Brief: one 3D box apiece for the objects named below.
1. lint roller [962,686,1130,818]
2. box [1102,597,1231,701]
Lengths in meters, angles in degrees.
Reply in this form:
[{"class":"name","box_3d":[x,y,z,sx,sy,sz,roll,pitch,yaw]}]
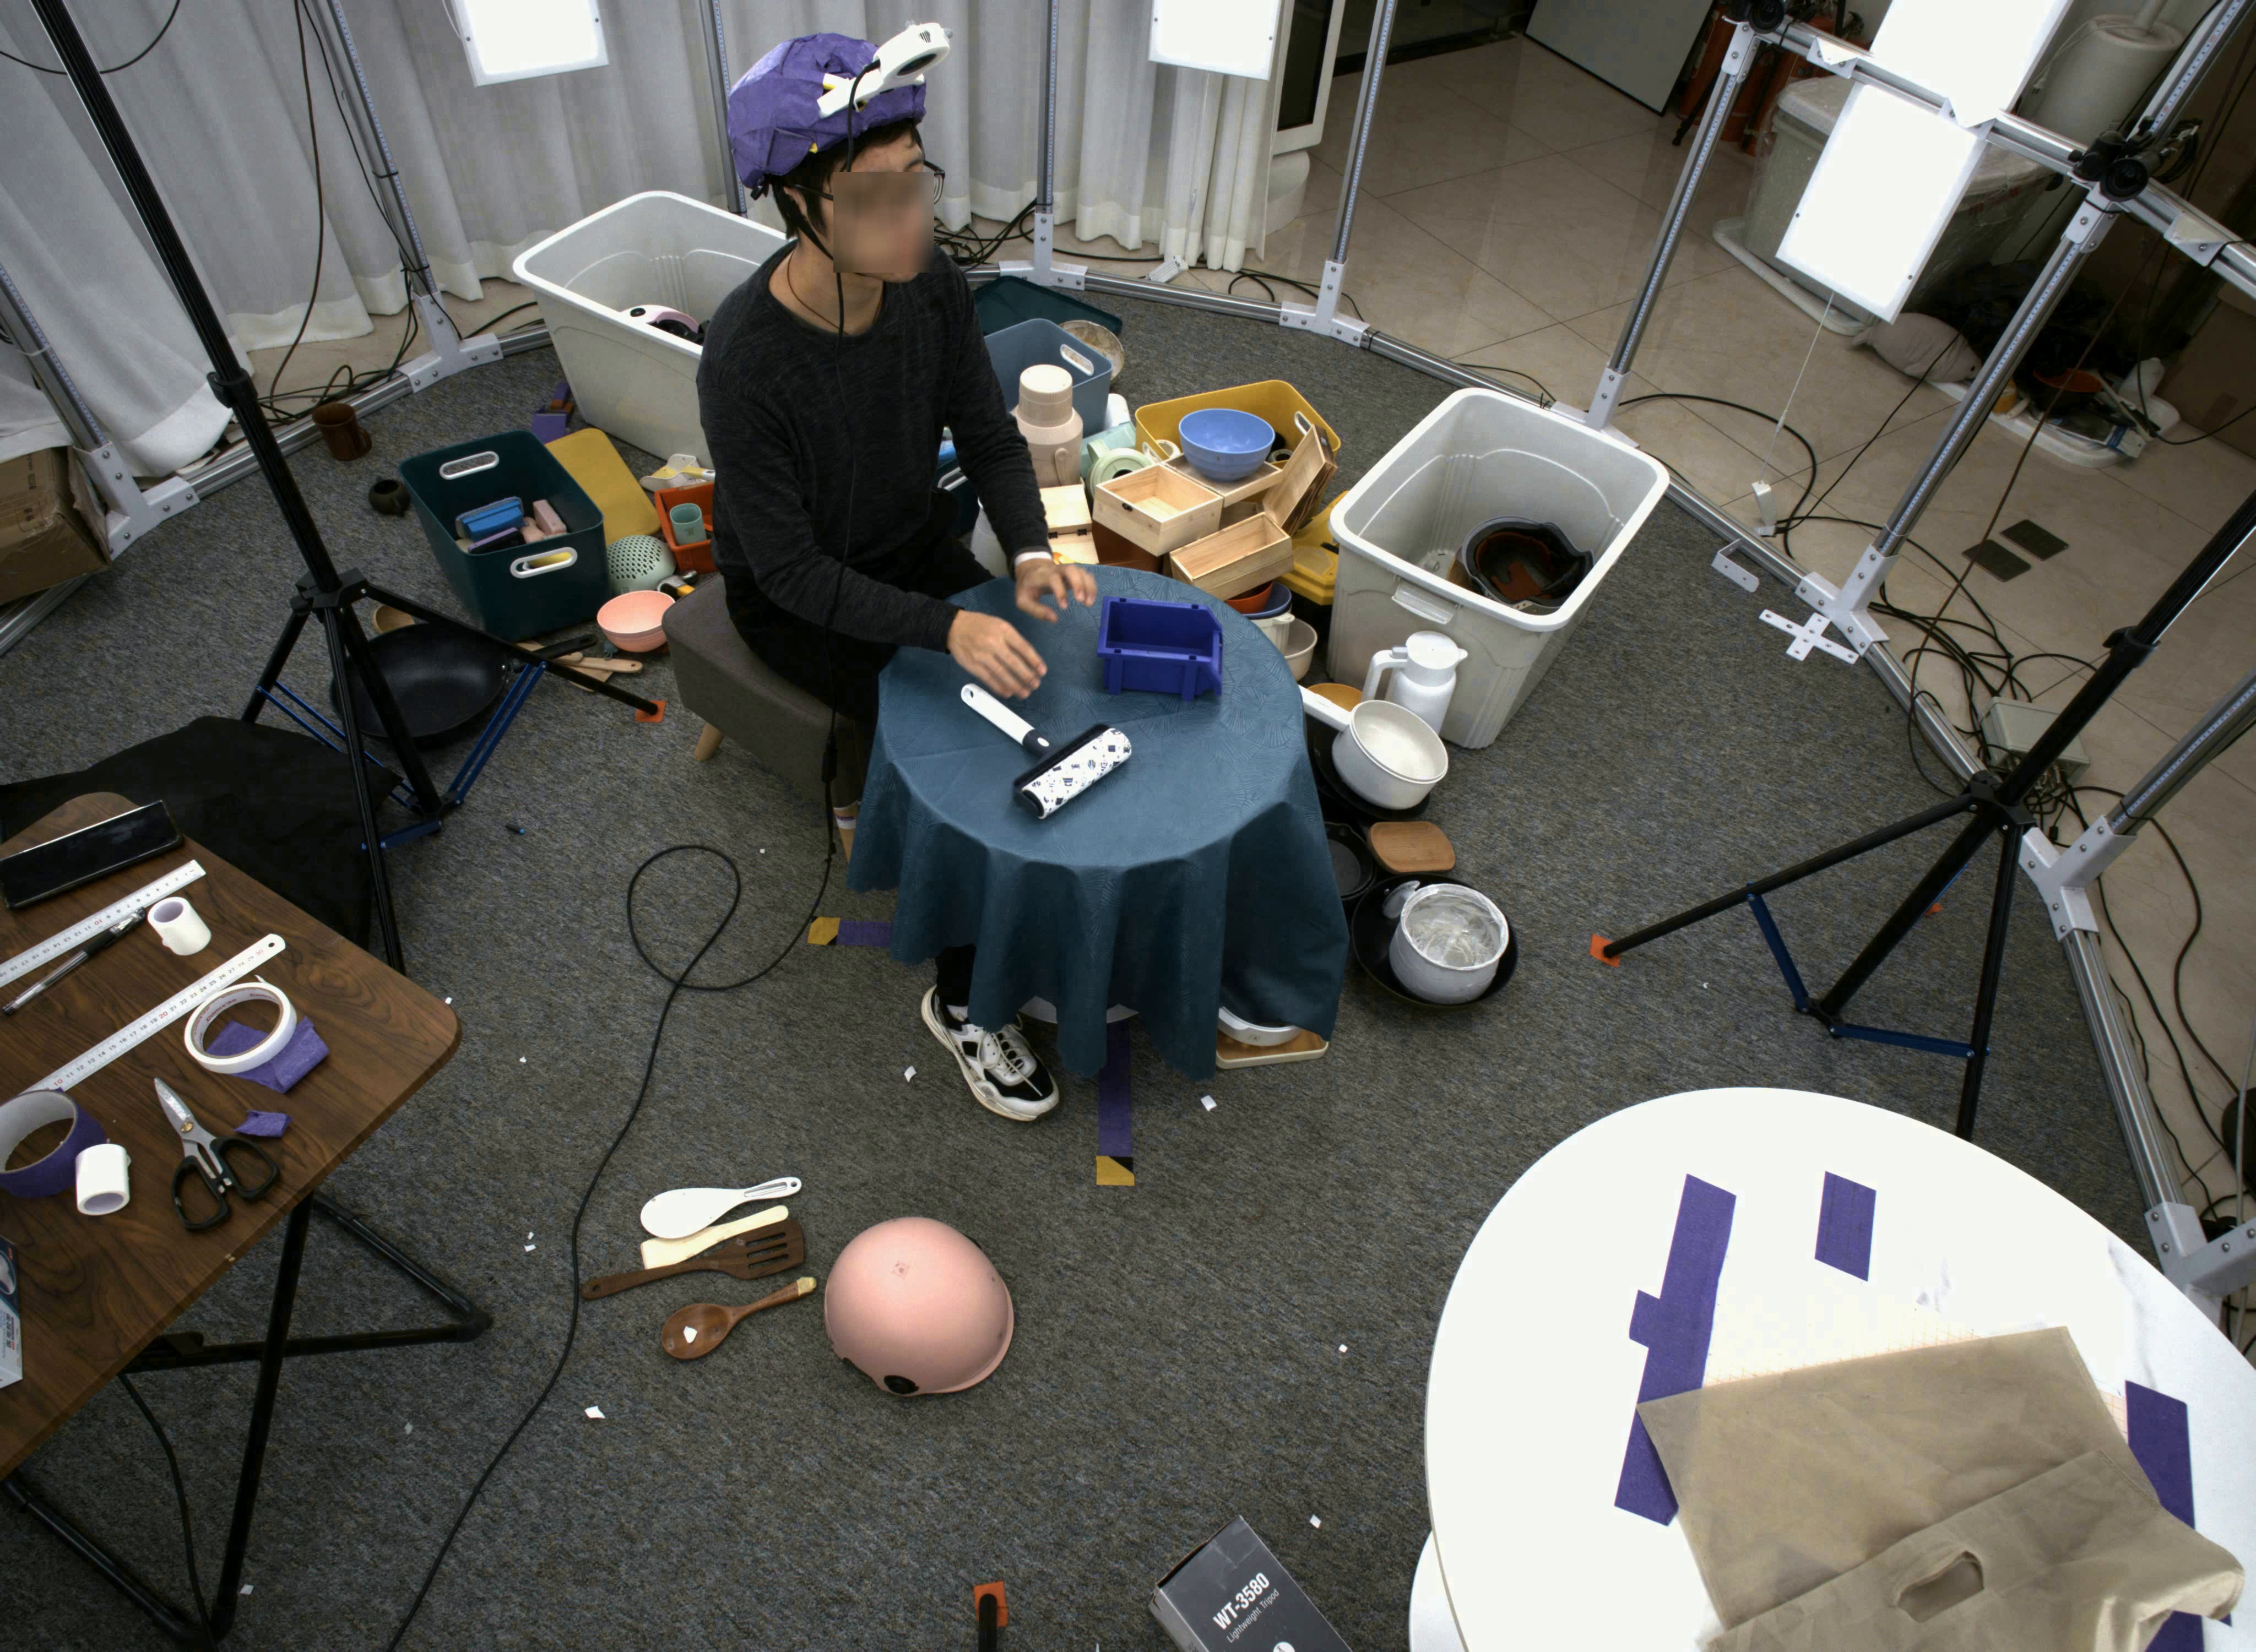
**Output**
[{"class":"lint roller","box_3d":[-0.141,-0.126,1.742,0.251,0.049,0.178,37,57,26]},{"class":"box","box_3d":[0.058,-0.255,1.842,0.179,0.080,0.127,4,49,3]}]
